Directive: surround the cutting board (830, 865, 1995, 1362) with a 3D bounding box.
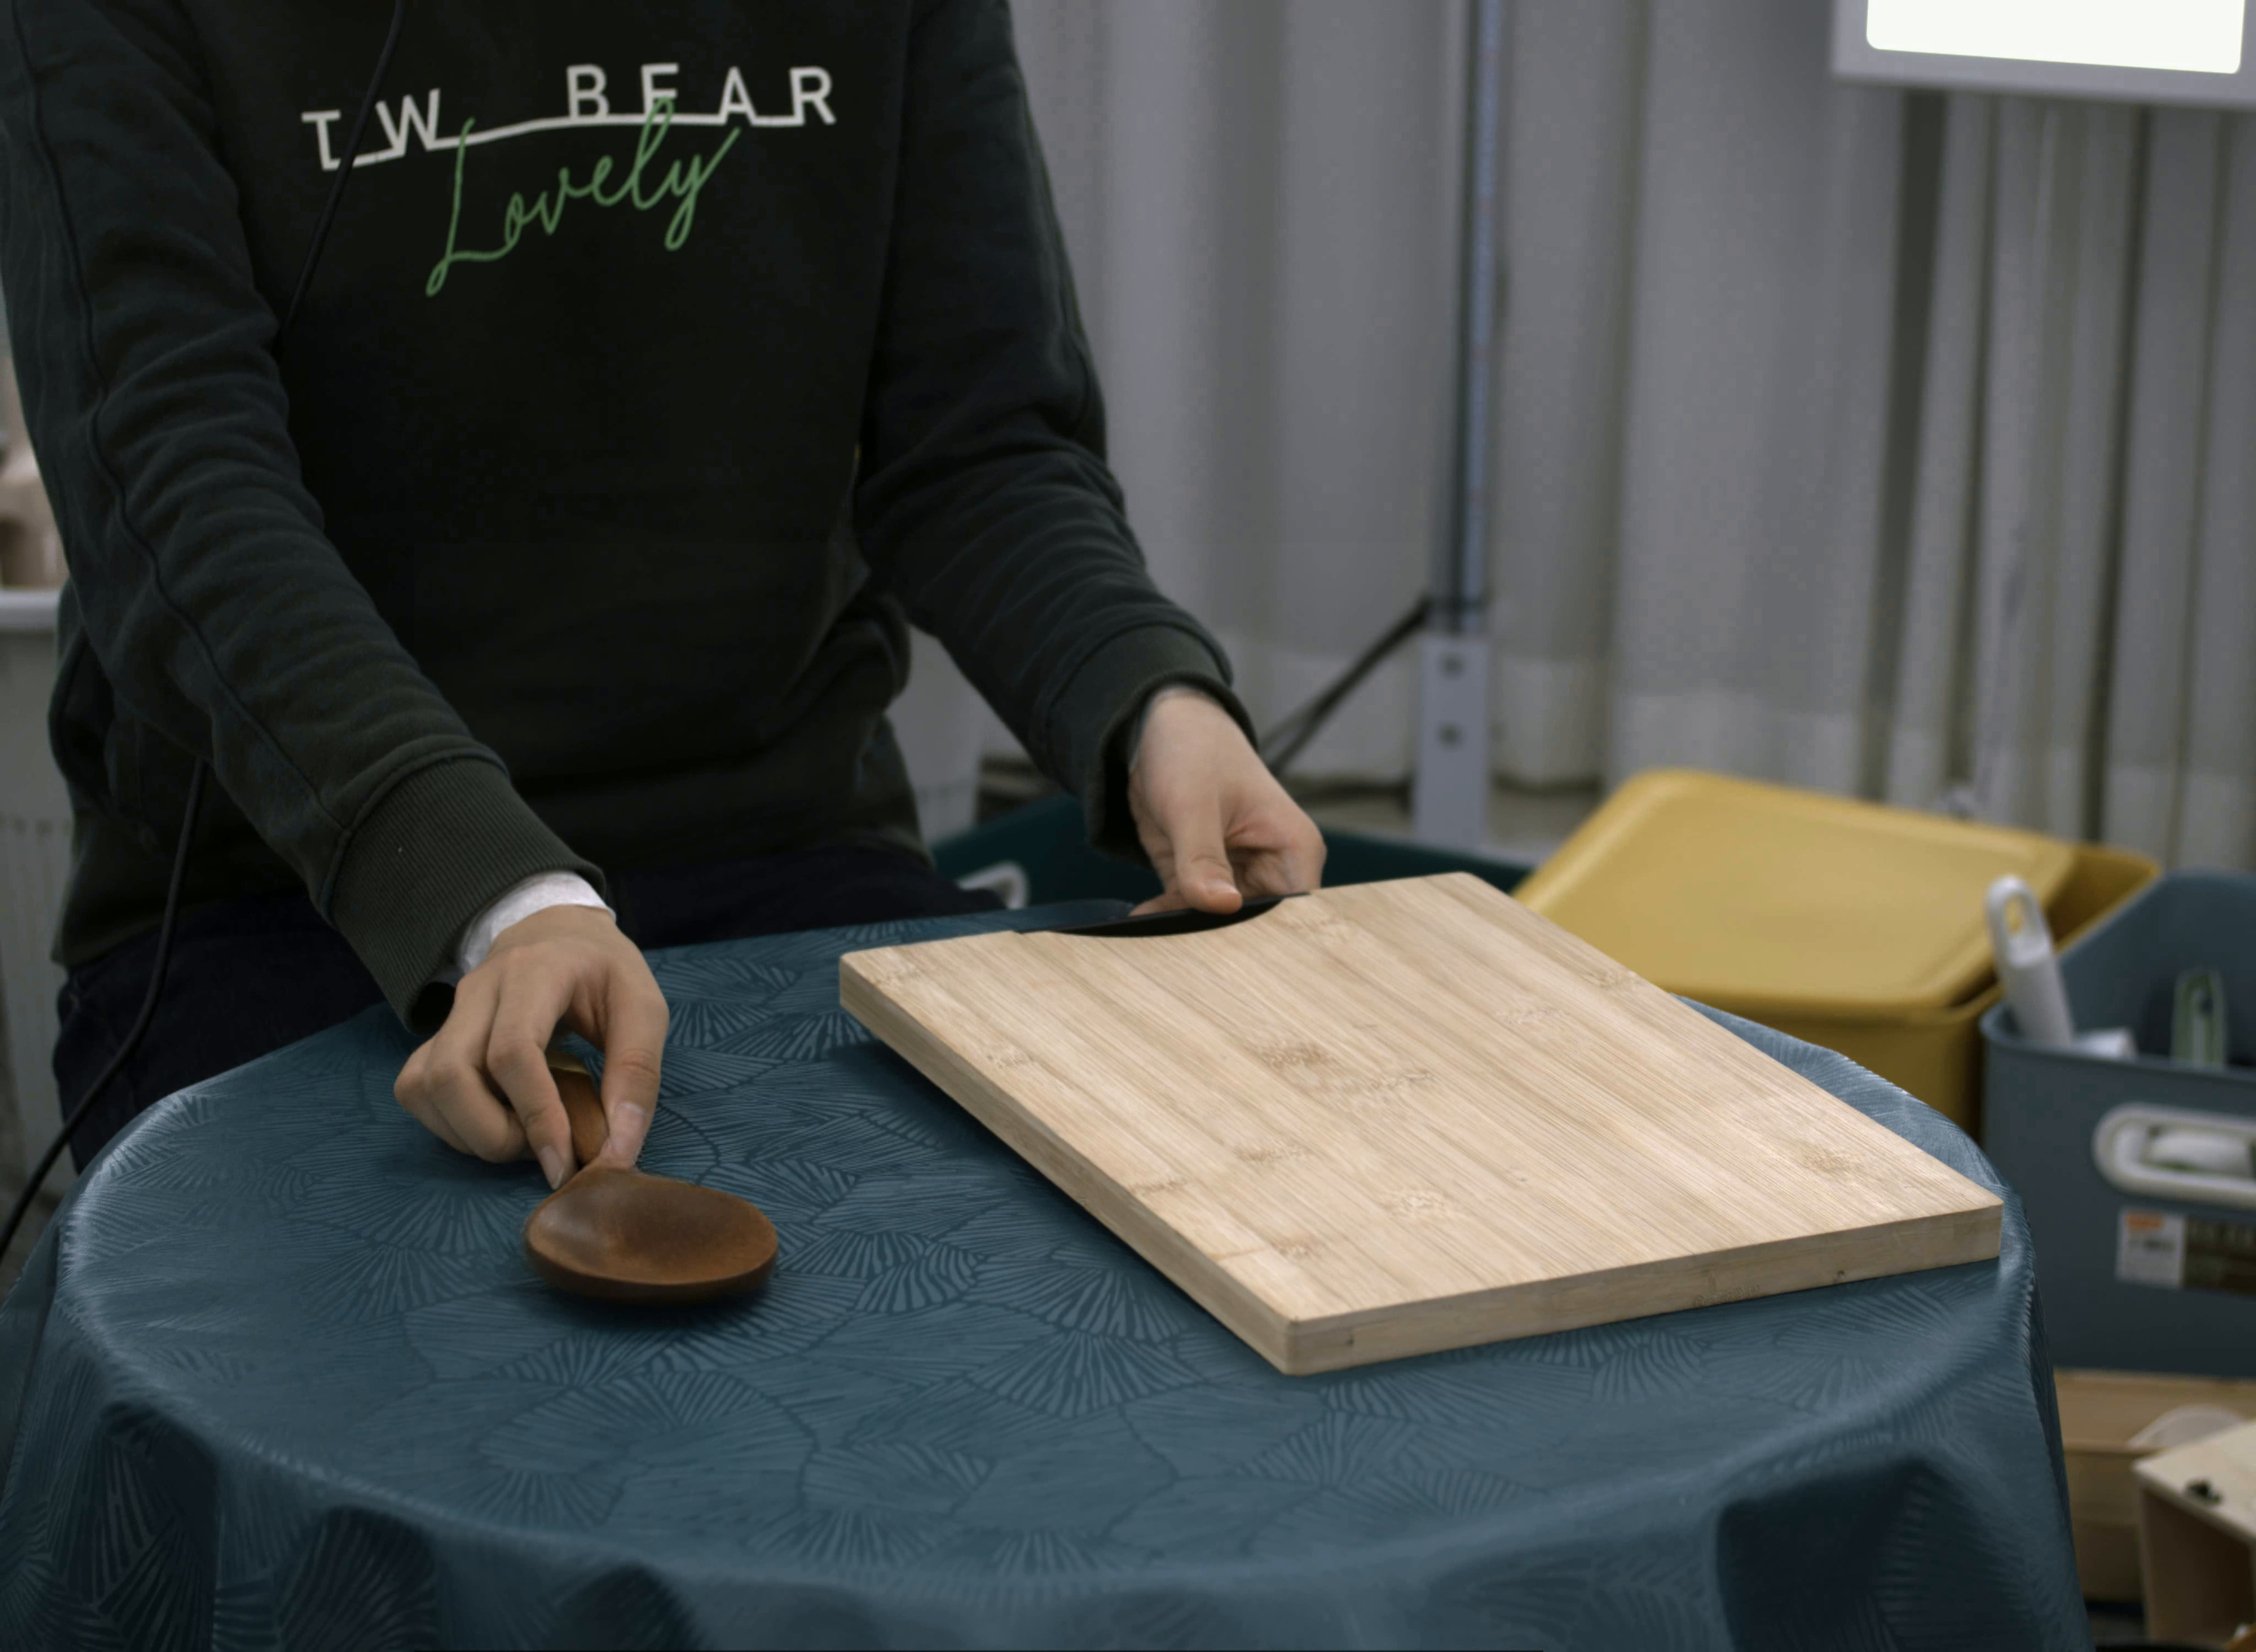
[{"bbox_3d":[0.079,0.084,1.674,0.252,0.024,0.344,-7,20,-26],"label":"cutting board"}]

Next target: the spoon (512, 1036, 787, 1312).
[{"bbox_3d":[-0.156,0.106,1.600,0.075,0.017,0.213,-5,19,-16],"label":"spoon"}]
